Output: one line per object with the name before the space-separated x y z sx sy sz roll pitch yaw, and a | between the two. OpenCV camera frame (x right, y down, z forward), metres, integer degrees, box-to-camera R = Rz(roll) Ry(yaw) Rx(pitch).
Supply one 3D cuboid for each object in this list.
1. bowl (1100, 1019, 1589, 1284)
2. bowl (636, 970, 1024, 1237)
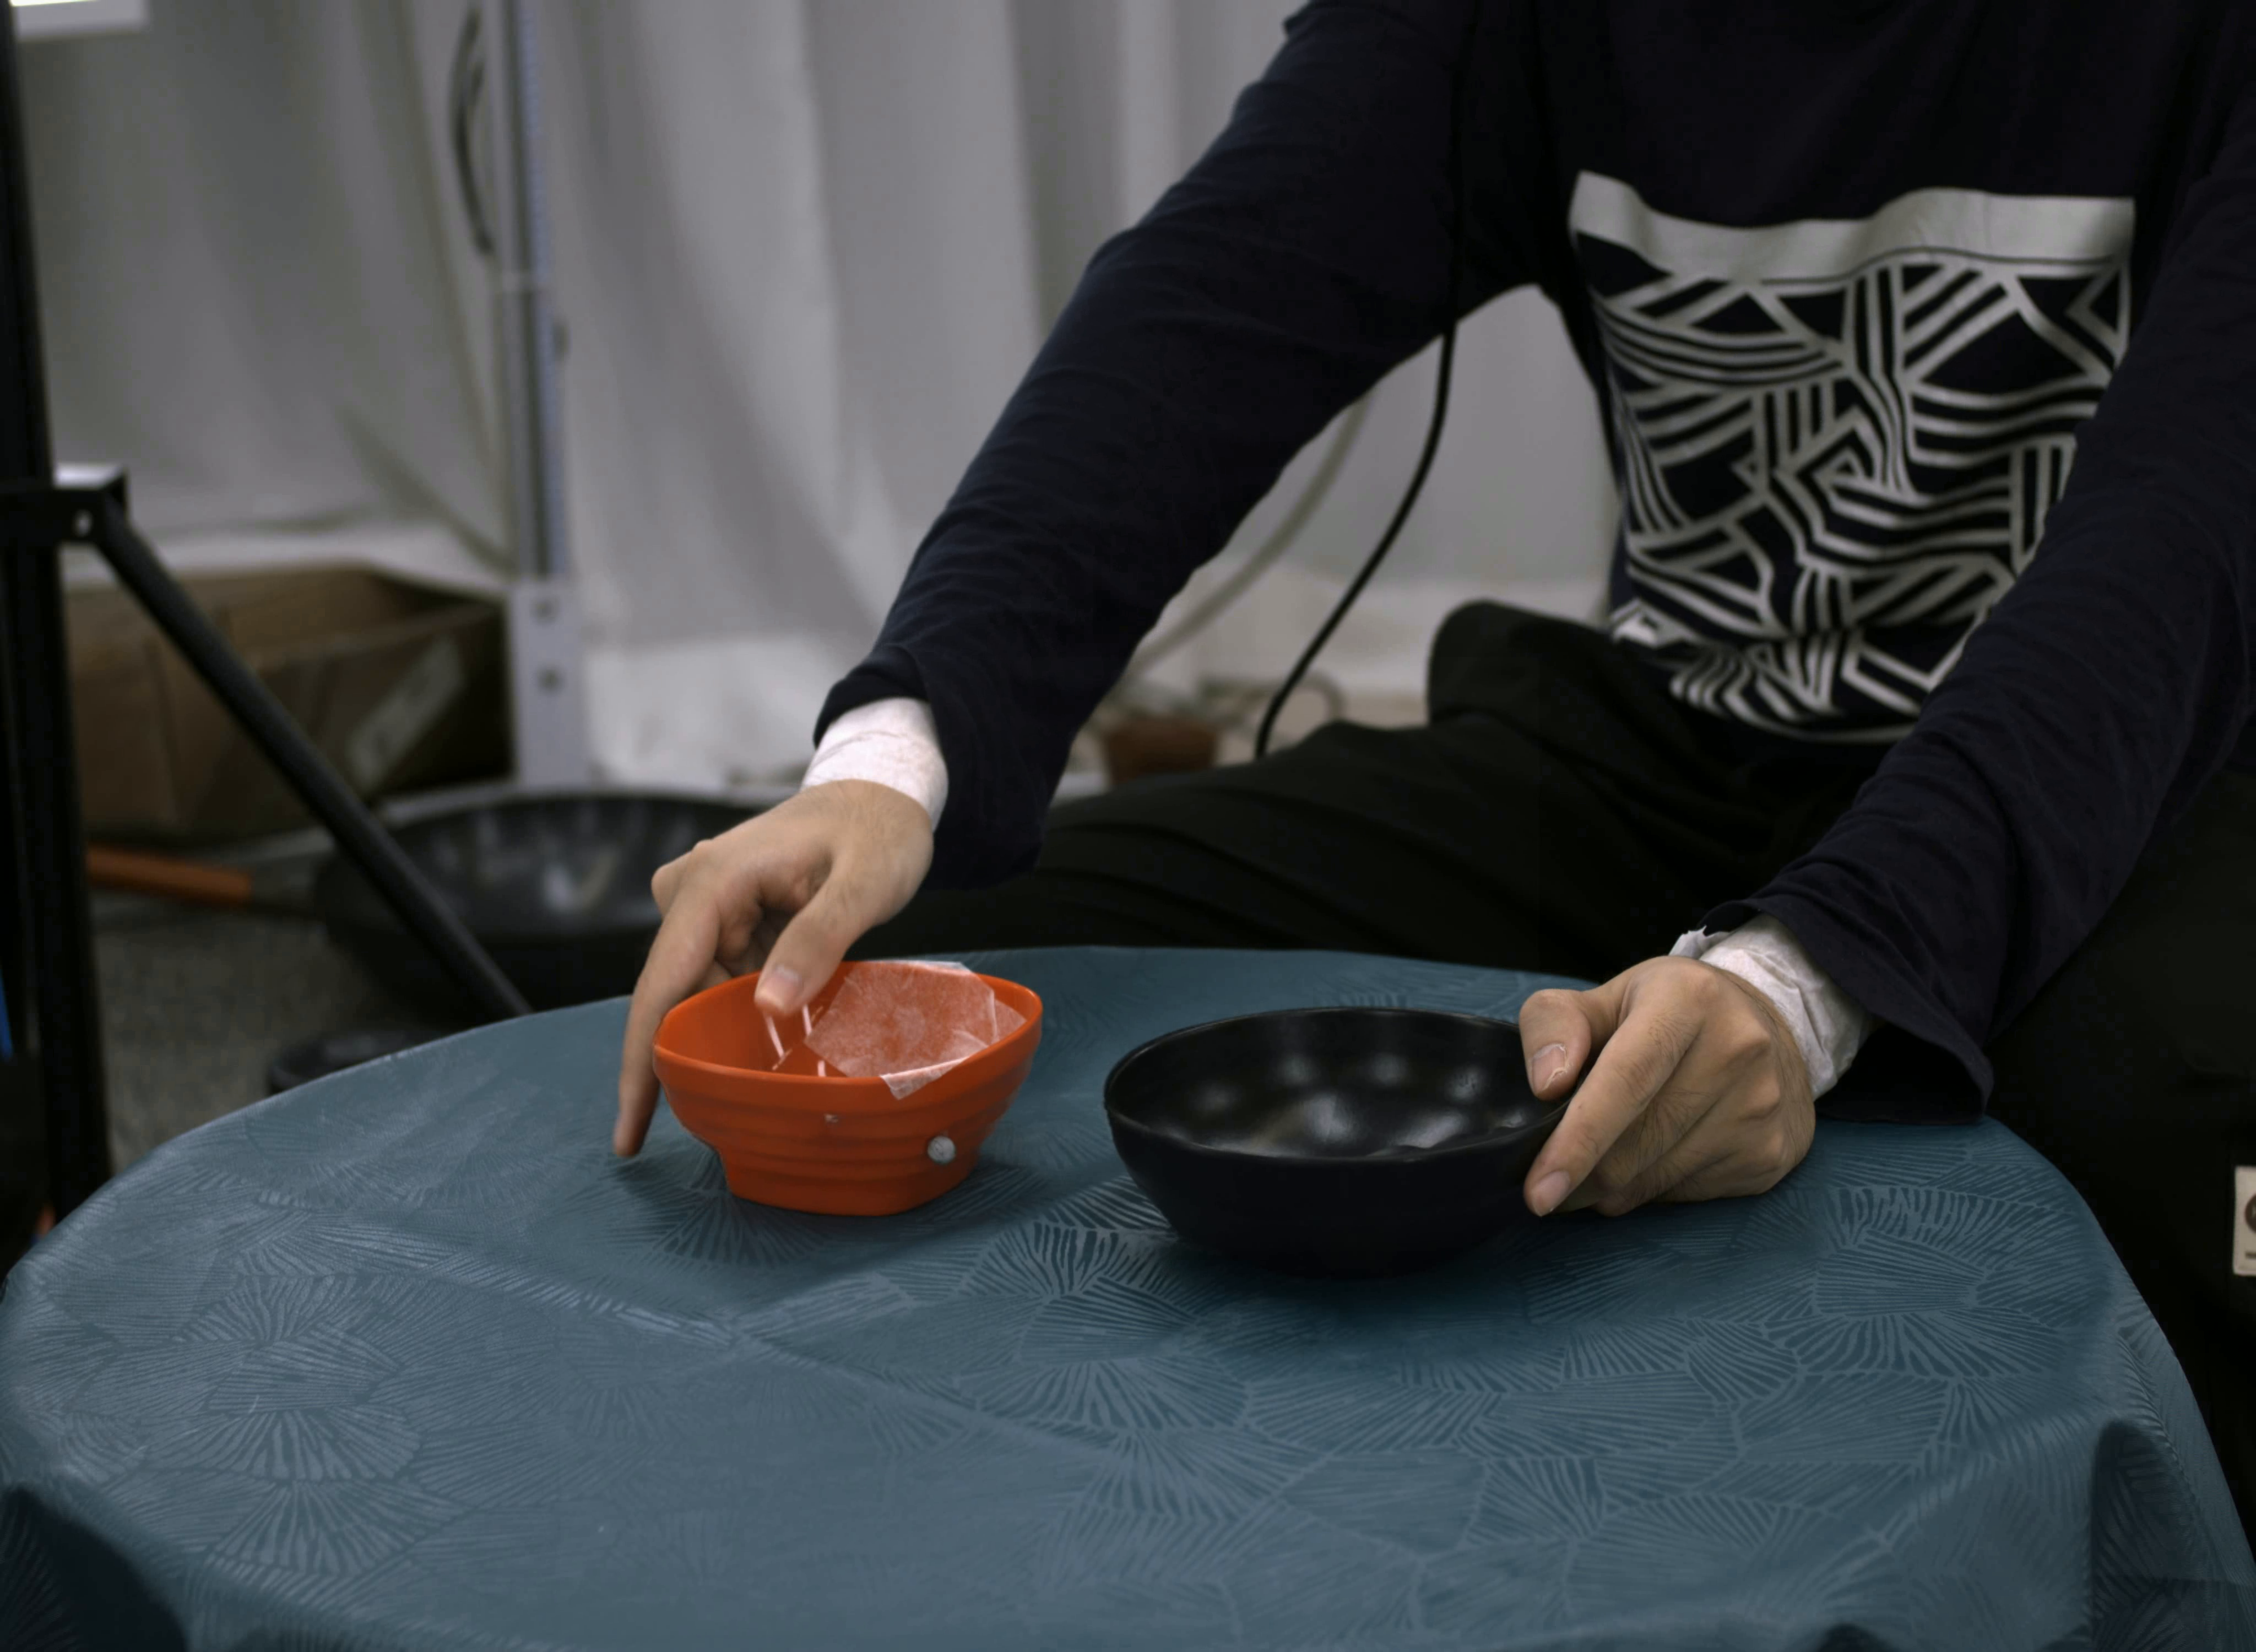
bowl | 0.062 0.097 1.509 0.139 0.050 0.140 -1 13 -1
bowl | -0.085 0.086 1.594 0.118 0.051 0.119 -10 18 2
